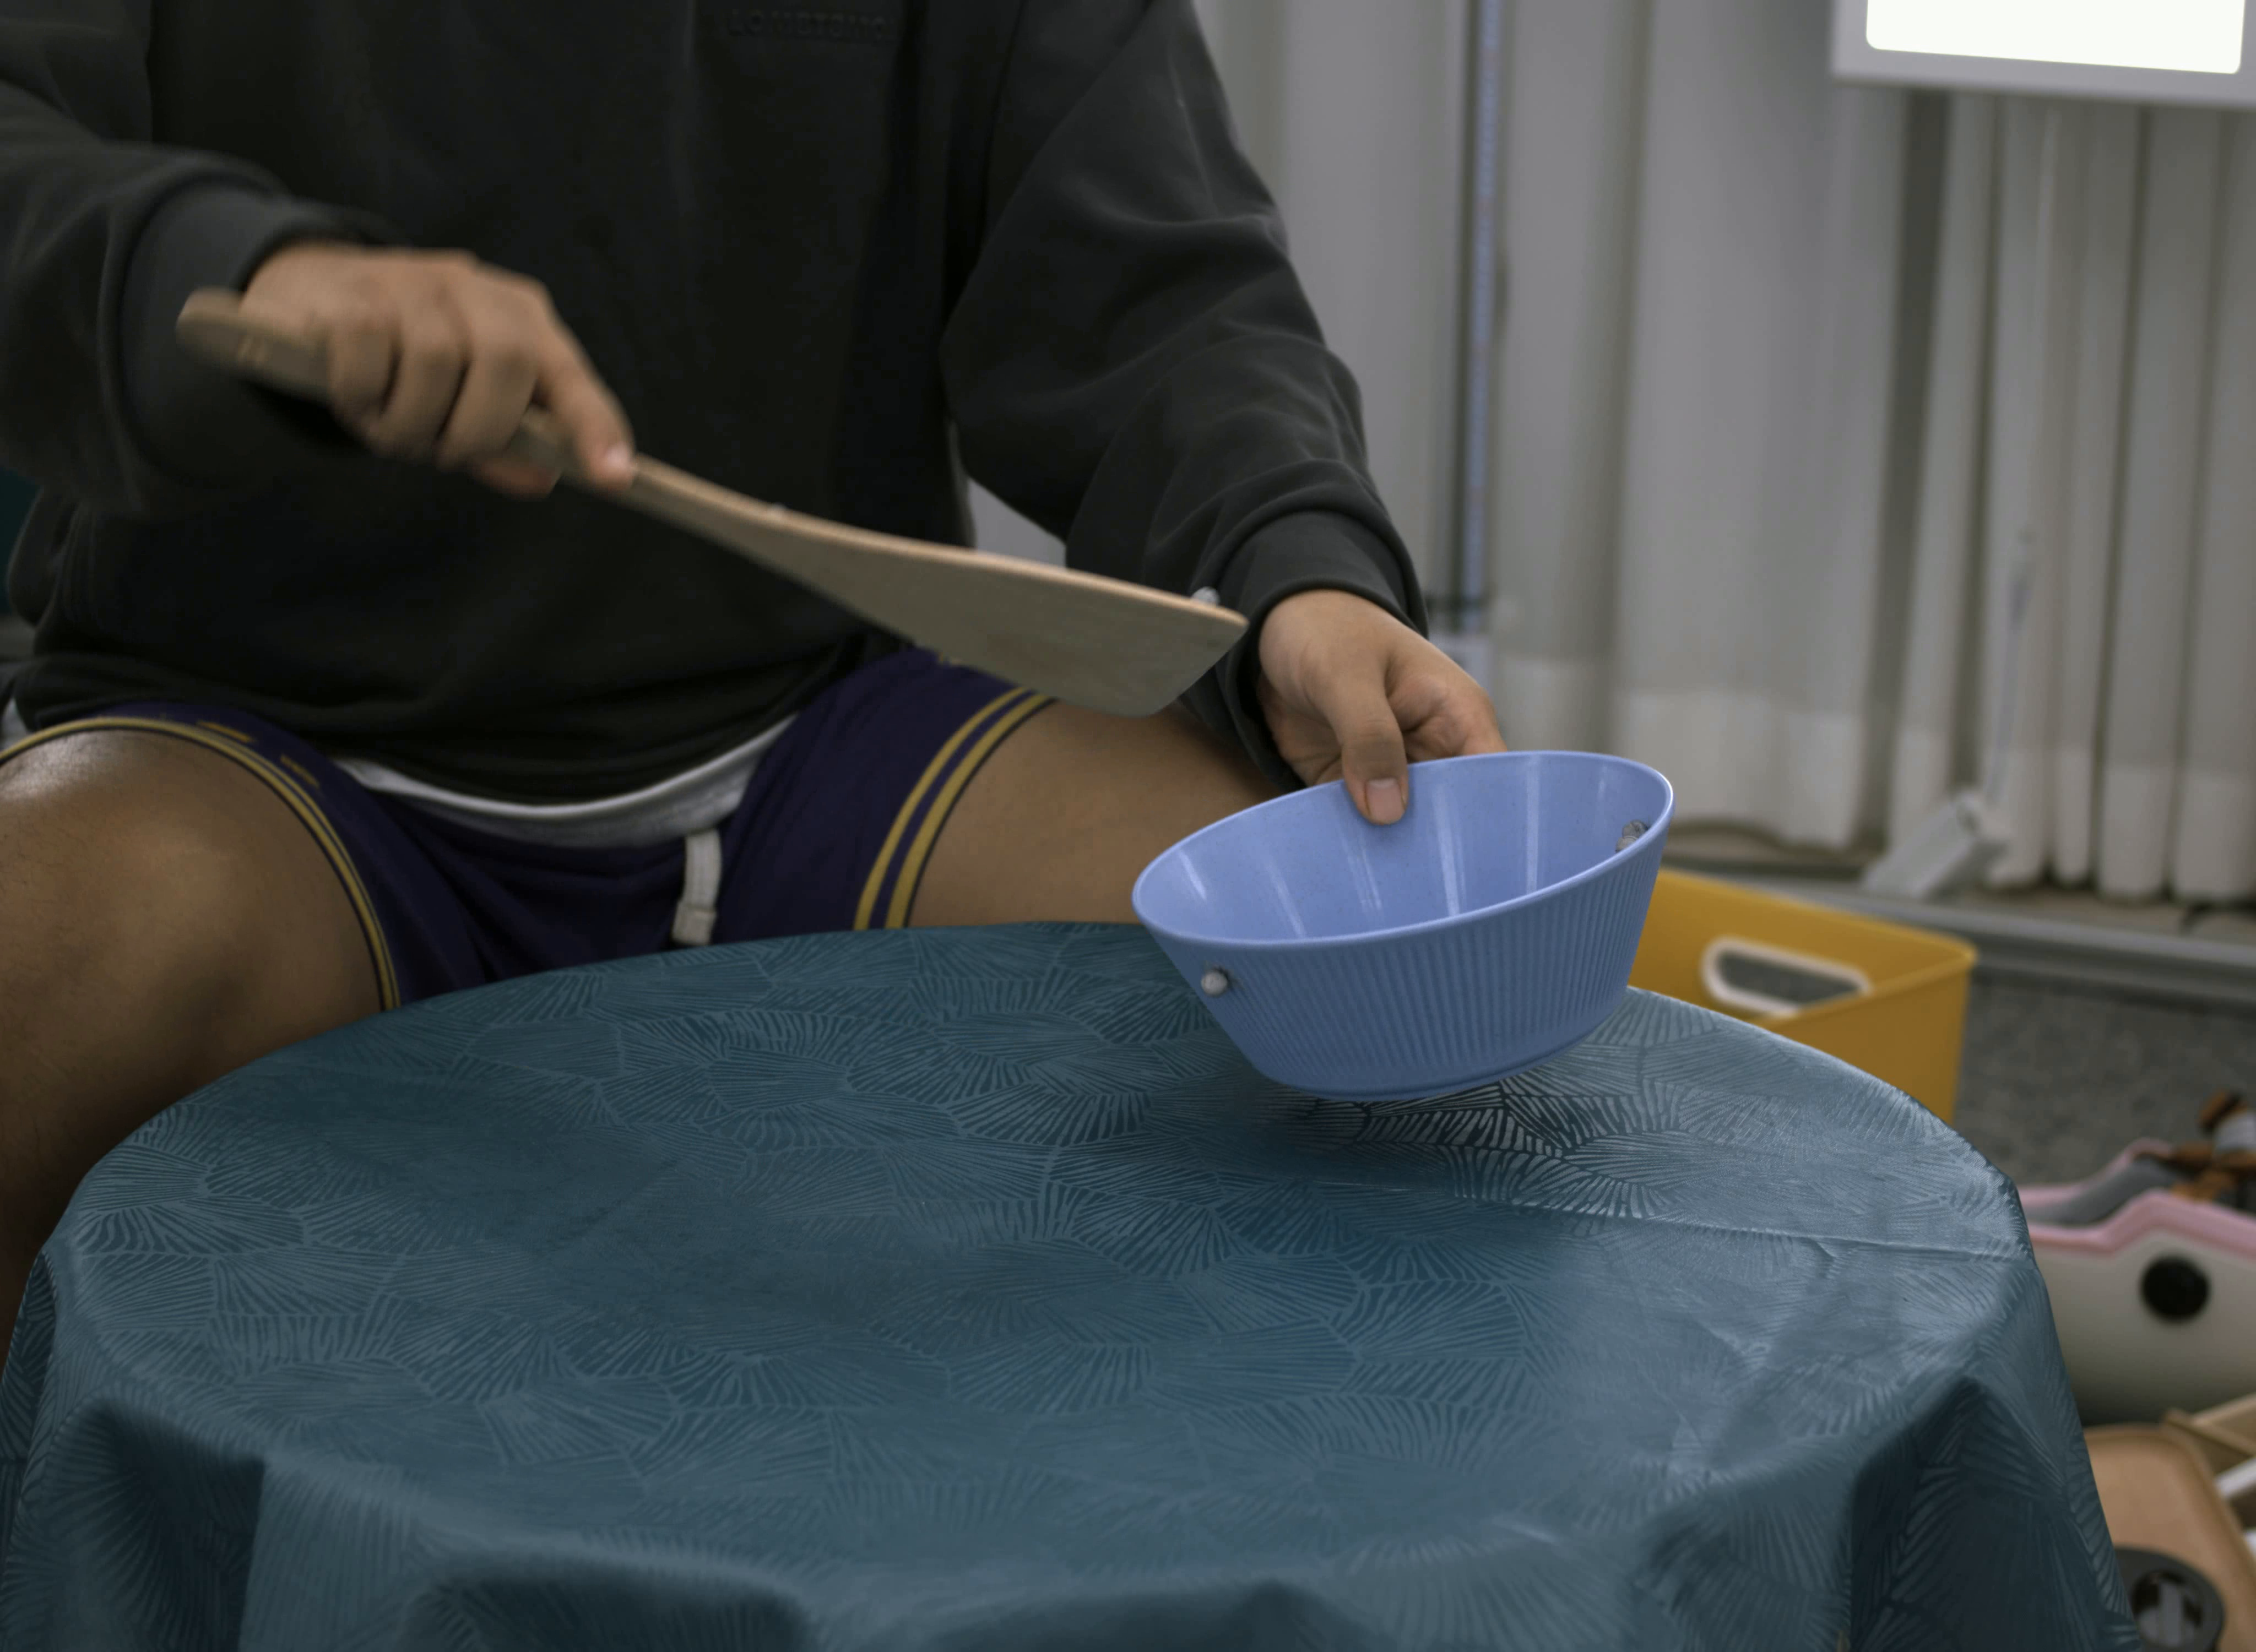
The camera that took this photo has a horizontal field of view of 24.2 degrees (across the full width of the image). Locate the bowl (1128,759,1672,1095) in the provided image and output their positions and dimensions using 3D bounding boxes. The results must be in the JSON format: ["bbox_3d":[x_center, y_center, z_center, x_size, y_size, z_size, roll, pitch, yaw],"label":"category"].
[{"bbox_3d":[0.092,0.035,1.682,0.175,0.071,0.175,-10,16,3],"label":"bowl"}]

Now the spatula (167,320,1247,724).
[{"bbox_3d":[-0.127,-0.093,1.559,0.327,0.016,0.080,19,-27,-5],"label":"spatula"}]
